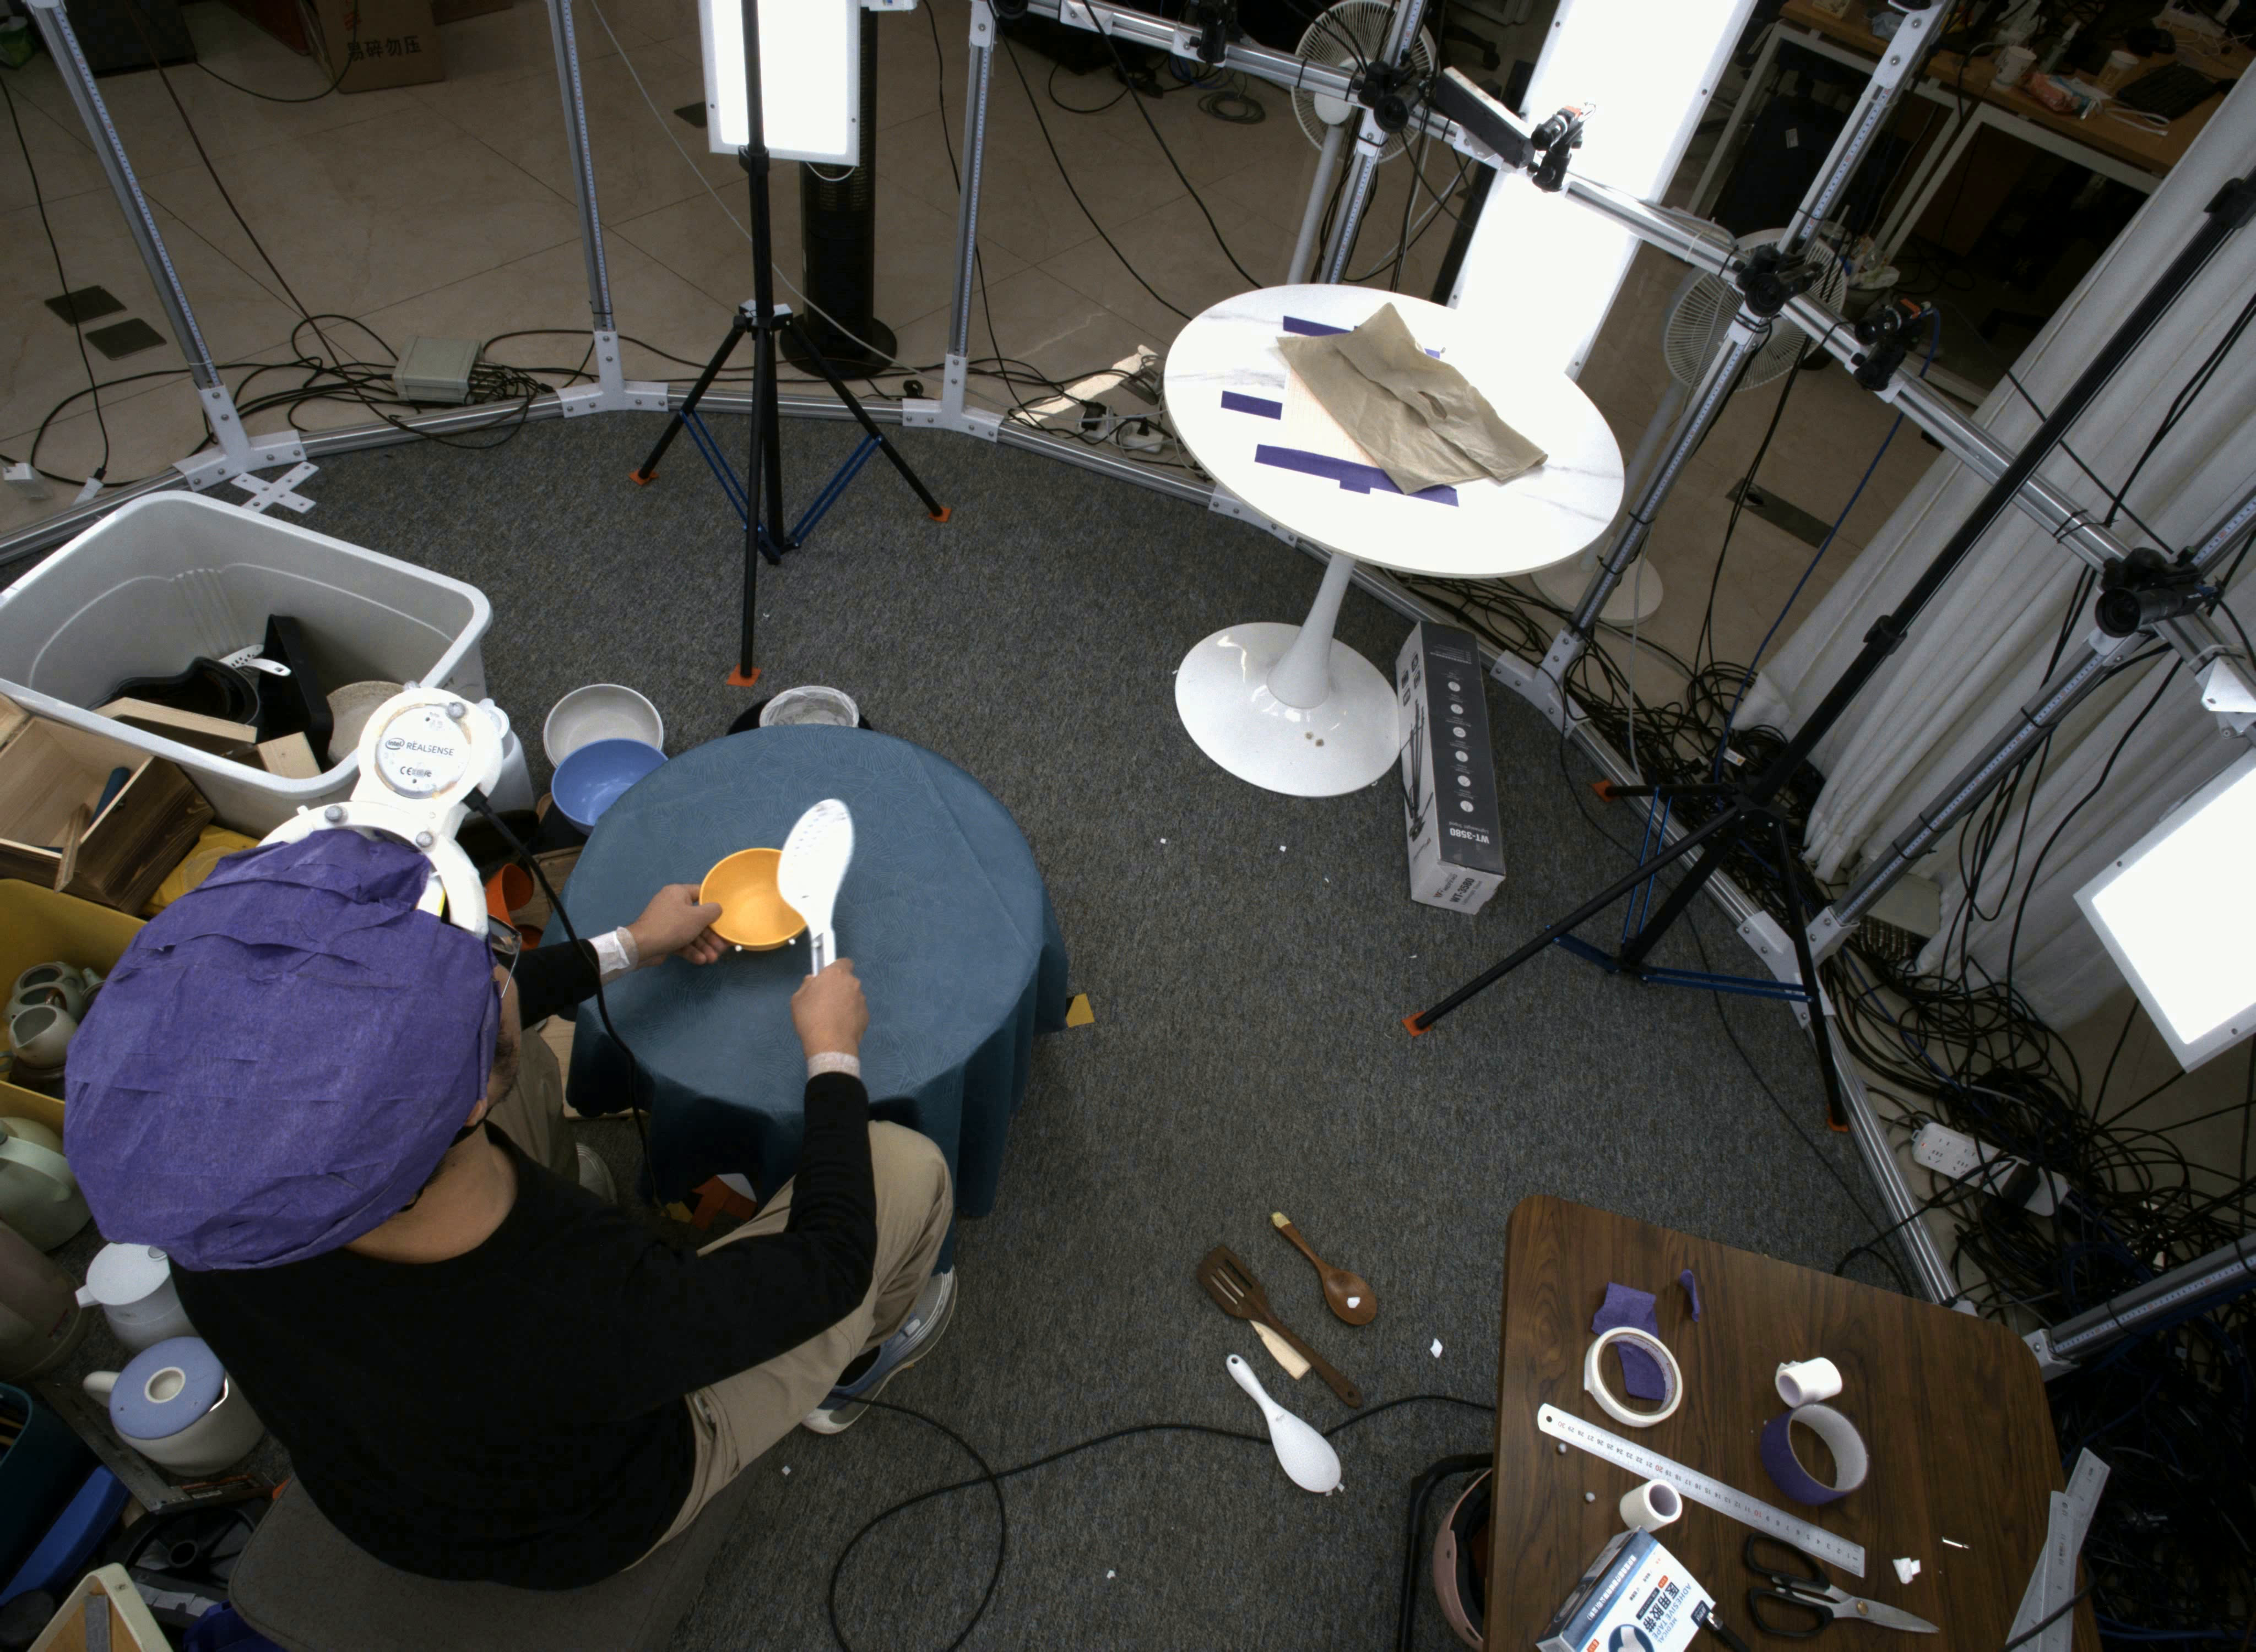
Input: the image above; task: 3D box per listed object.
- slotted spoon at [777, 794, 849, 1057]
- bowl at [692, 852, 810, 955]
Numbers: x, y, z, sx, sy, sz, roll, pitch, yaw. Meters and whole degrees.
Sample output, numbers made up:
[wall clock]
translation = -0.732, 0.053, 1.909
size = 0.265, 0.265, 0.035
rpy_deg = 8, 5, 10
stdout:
[slotted spoon]
translation = -0.360, 0.110, 1.509
size = 0.047, 0.135, 0.341
rpy_deg = 30, 35, -38
[bowl]
translation = -0.461, 0.105, 1.595
size = 0.145, 0.061, 0.142
rpy_deg = 8, 50, -7
